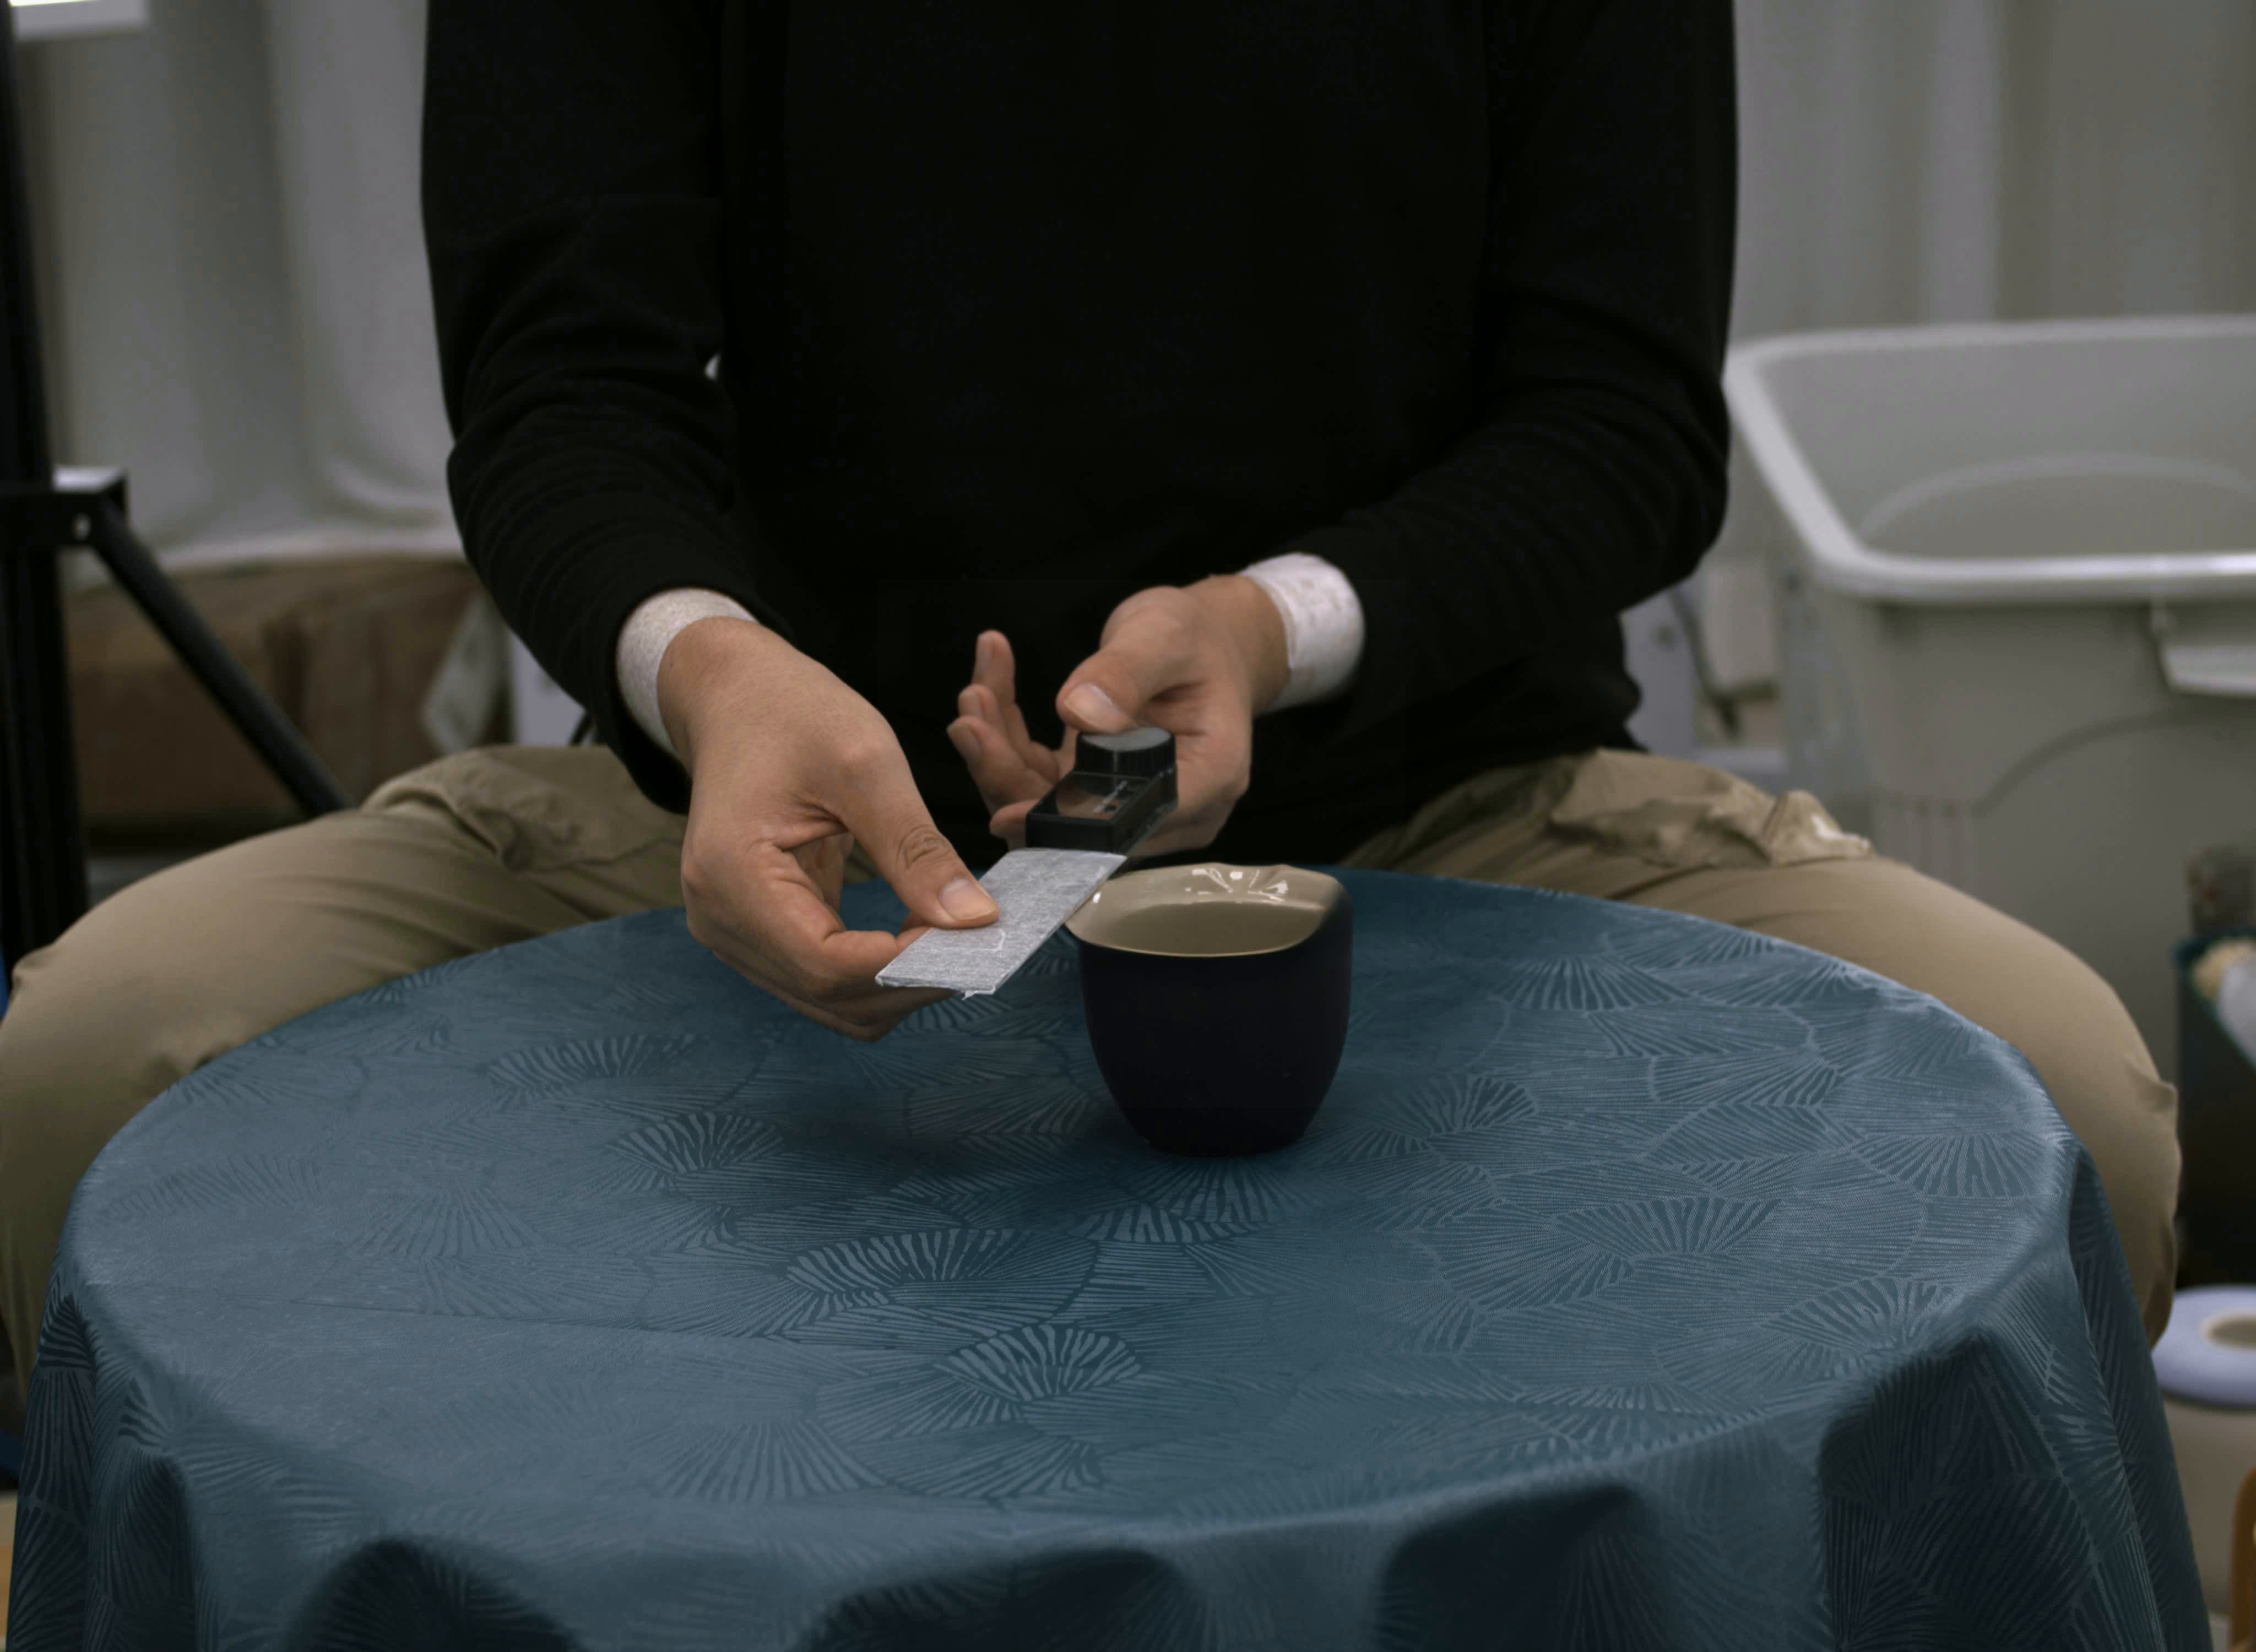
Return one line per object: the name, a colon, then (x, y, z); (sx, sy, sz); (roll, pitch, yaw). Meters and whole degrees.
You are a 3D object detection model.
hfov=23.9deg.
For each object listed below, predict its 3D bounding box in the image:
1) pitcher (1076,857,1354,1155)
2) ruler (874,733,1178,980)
pitcher: (0.029, 0.056, 1.601); (0.084, 0.071, 0.095); (1, 16, 16)
ruler: (-0.027, 0.008, 1.614); (0.038, 0.024, 0.216); (-2, 14, 17)
